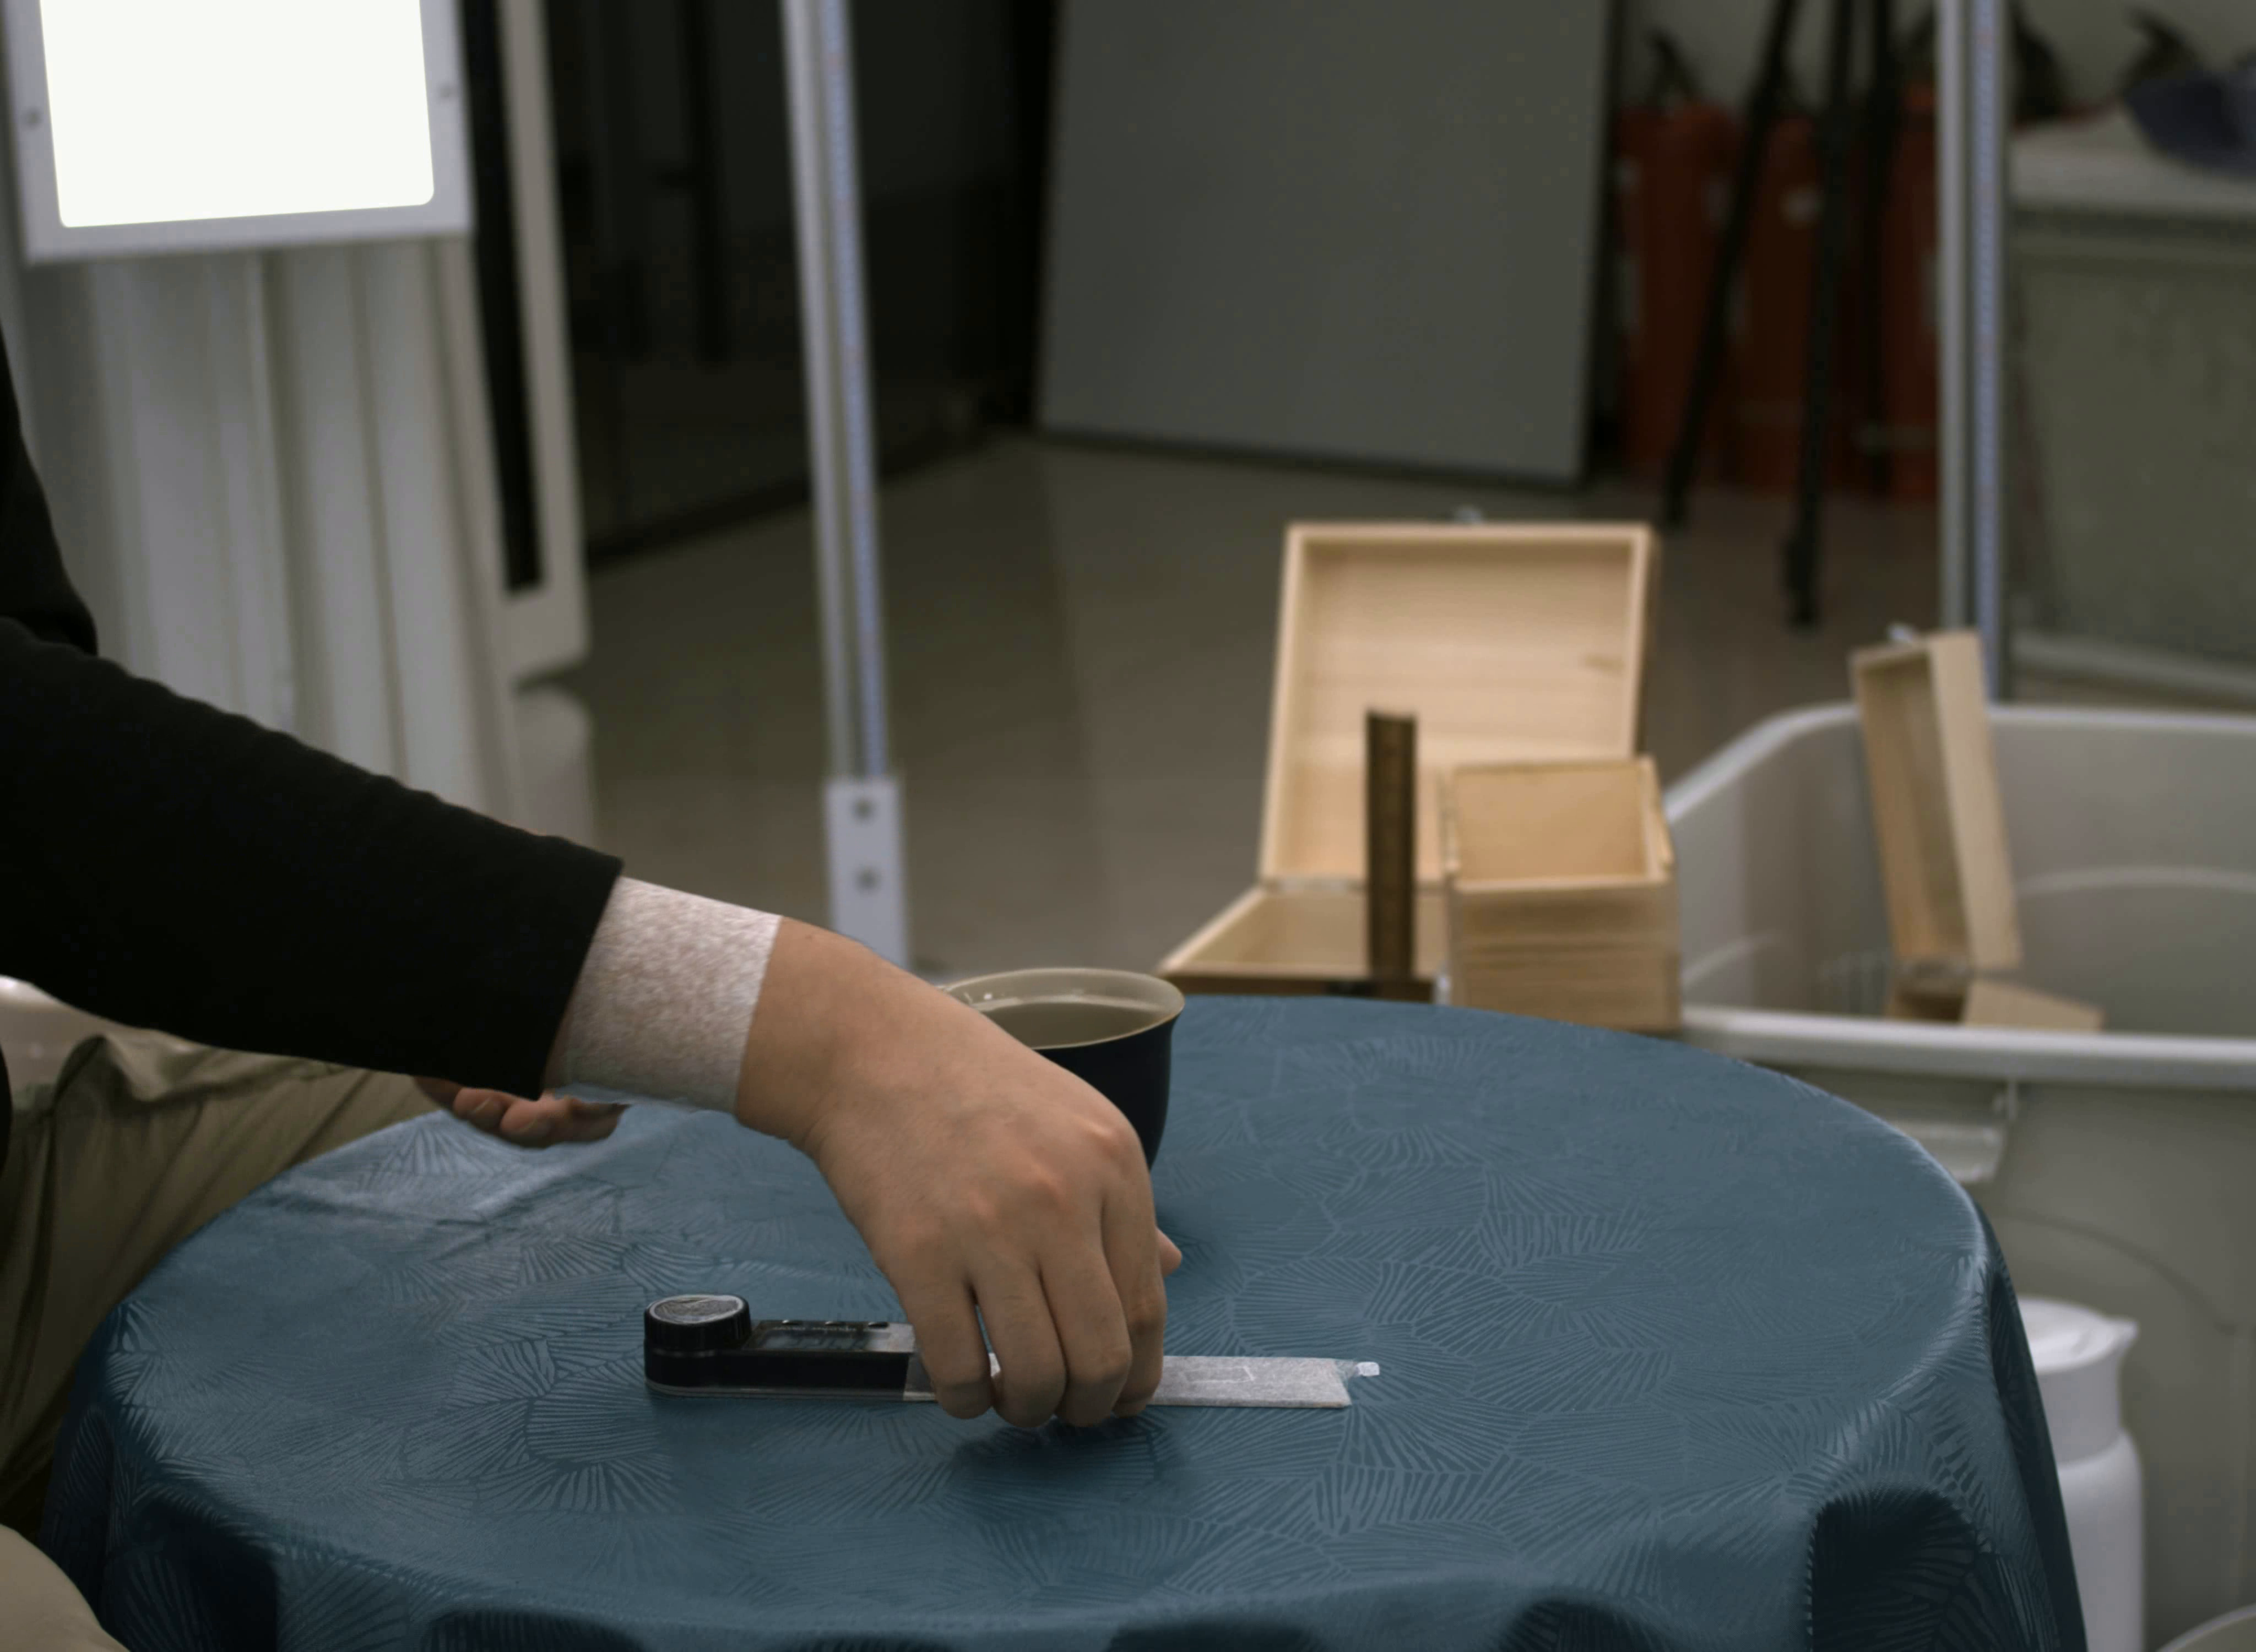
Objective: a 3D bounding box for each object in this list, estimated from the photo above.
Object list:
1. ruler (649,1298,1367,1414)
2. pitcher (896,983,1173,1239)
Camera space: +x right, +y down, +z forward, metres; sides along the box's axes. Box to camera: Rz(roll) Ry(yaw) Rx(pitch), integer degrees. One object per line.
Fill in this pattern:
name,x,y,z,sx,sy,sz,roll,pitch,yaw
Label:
ruler,-0.038,0.155,1.596,0.217,0.024,0.038,-2,22,15
pitcher,-0.031,0.091,1.746,0.096,0.072,0.082,5,17,29
